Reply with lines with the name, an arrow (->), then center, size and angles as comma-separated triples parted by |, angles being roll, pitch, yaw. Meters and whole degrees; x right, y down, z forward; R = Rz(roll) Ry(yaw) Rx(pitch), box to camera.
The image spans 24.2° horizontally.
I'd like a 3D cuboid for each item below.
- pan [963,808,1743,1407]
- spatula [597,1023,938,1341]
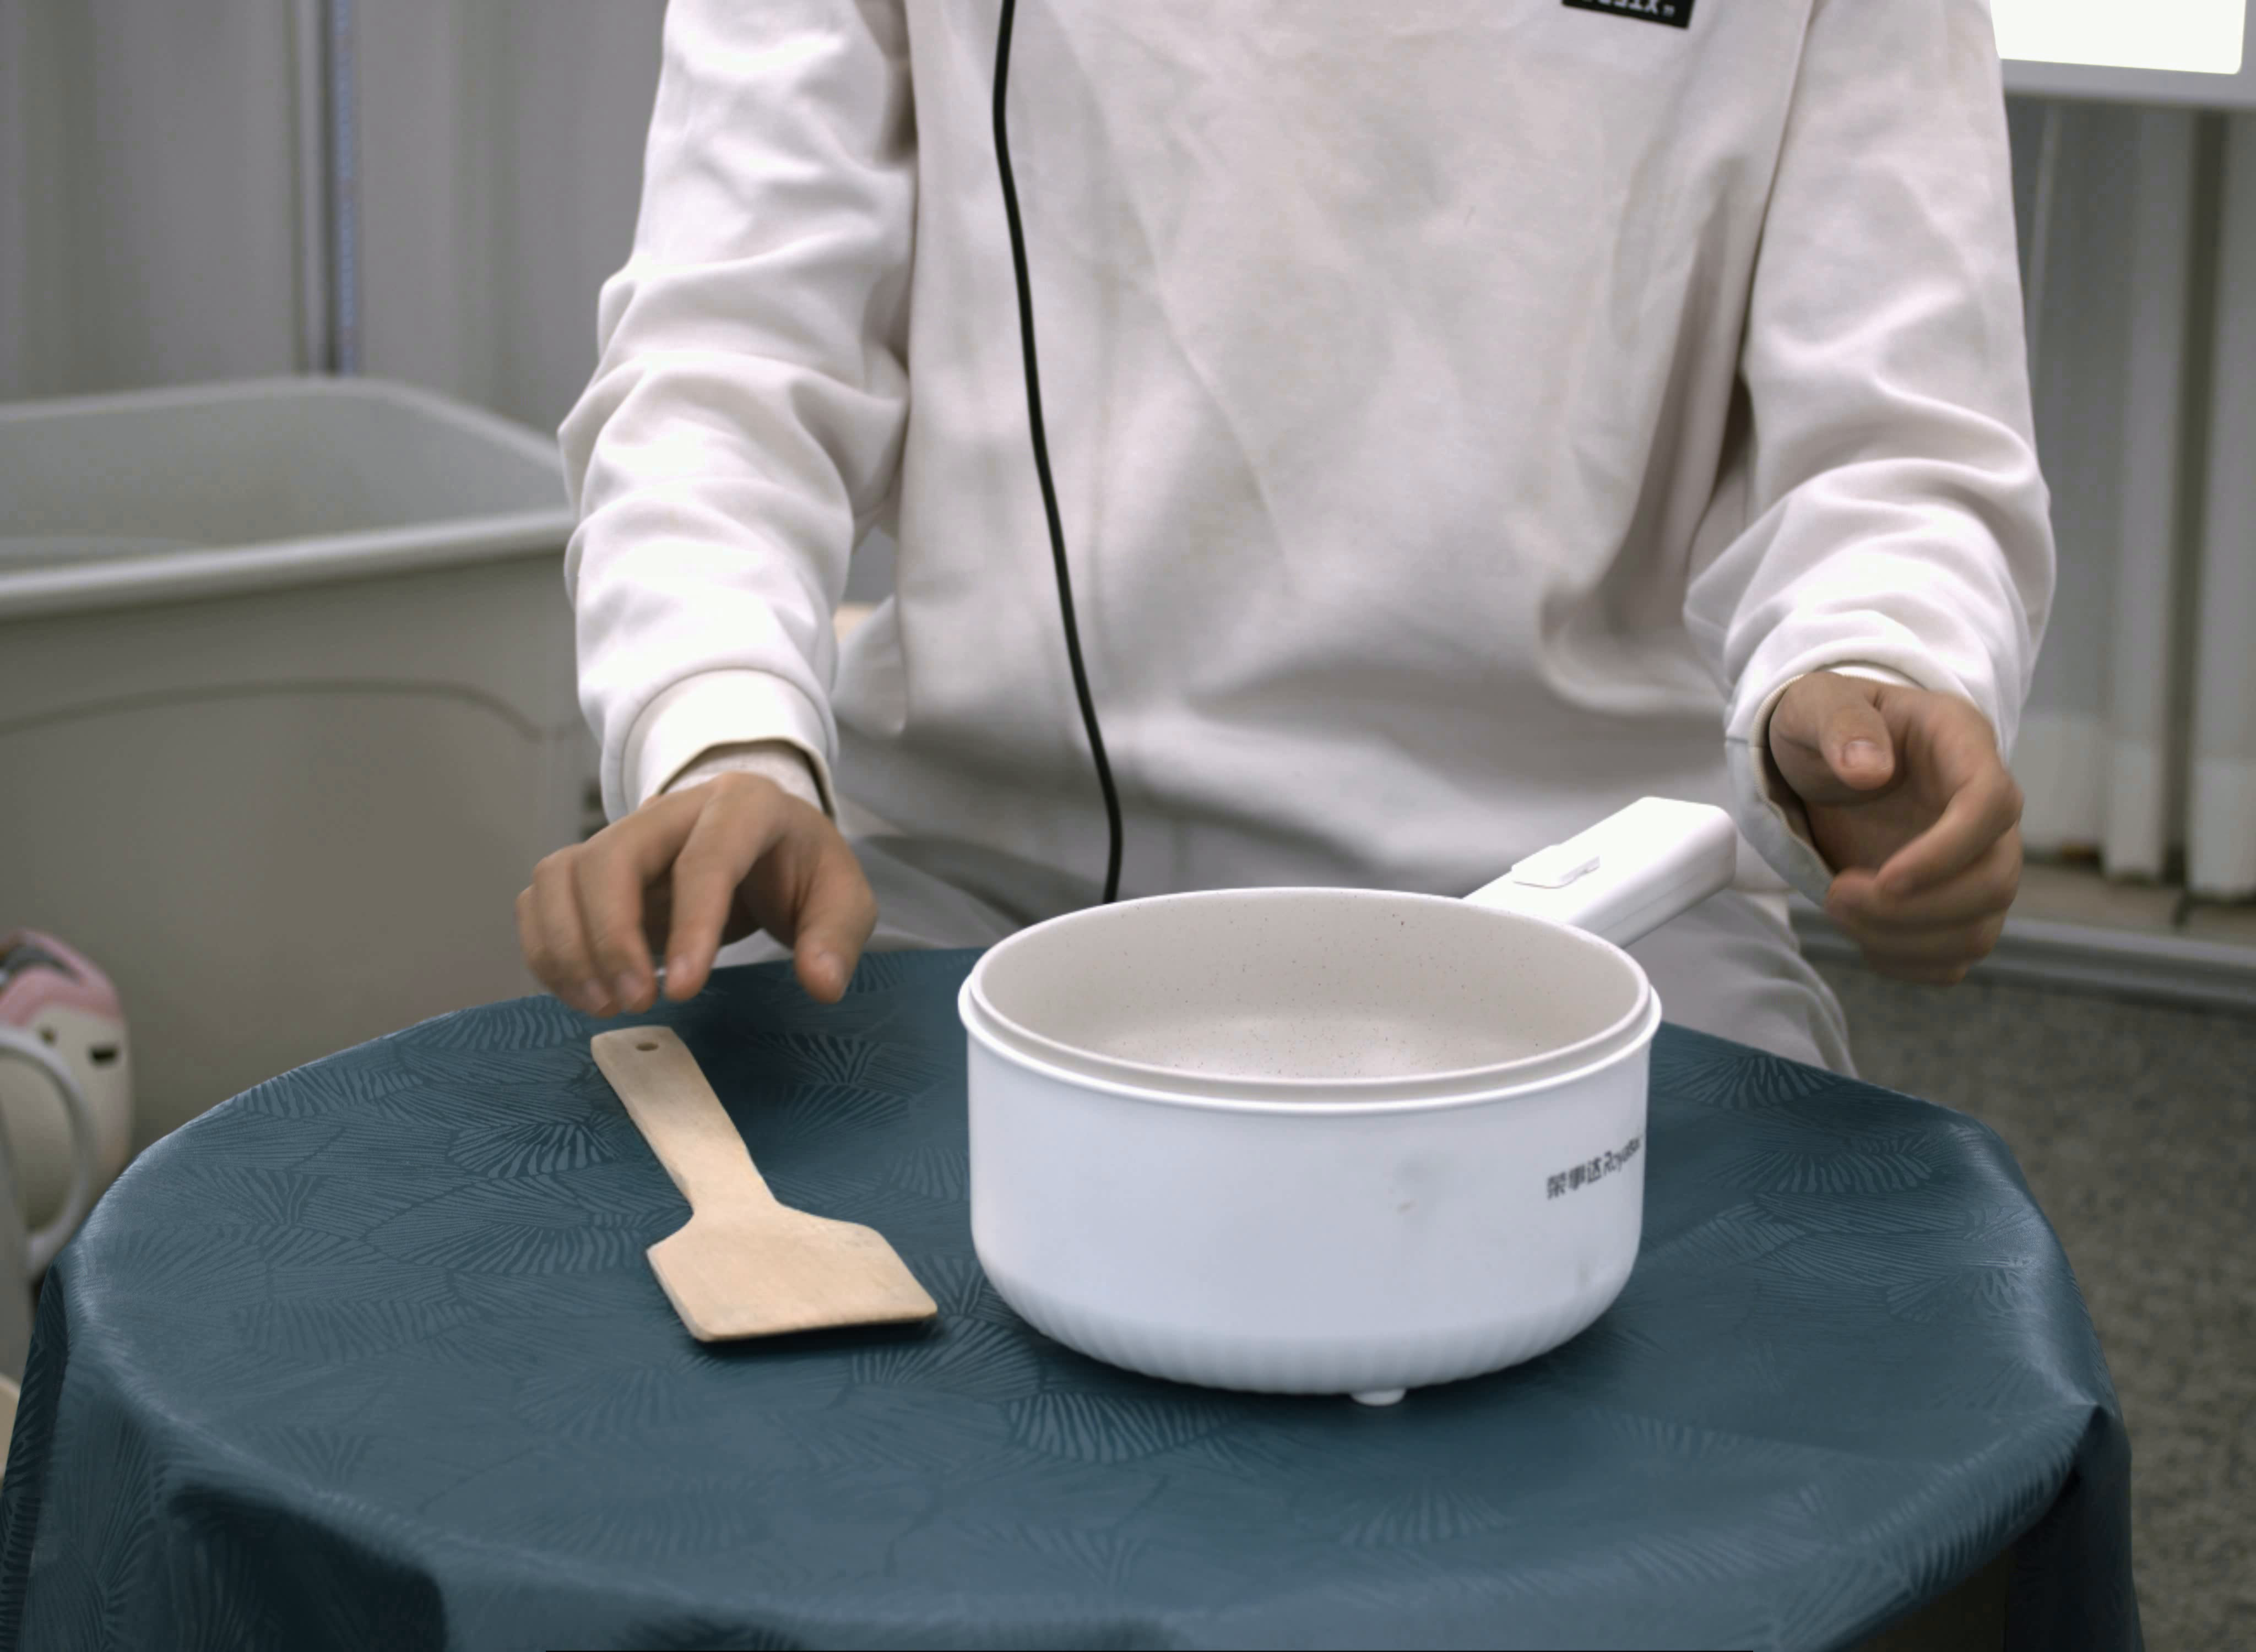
pan -> 0.091, 0.077, 1.582 | 0.199, 0.103, 0.356 | 8, 16, 29
spatula -> -0.127, 0.107, 1.628 | 0.072, 0.011, 0.290 | -6, 17, -15
